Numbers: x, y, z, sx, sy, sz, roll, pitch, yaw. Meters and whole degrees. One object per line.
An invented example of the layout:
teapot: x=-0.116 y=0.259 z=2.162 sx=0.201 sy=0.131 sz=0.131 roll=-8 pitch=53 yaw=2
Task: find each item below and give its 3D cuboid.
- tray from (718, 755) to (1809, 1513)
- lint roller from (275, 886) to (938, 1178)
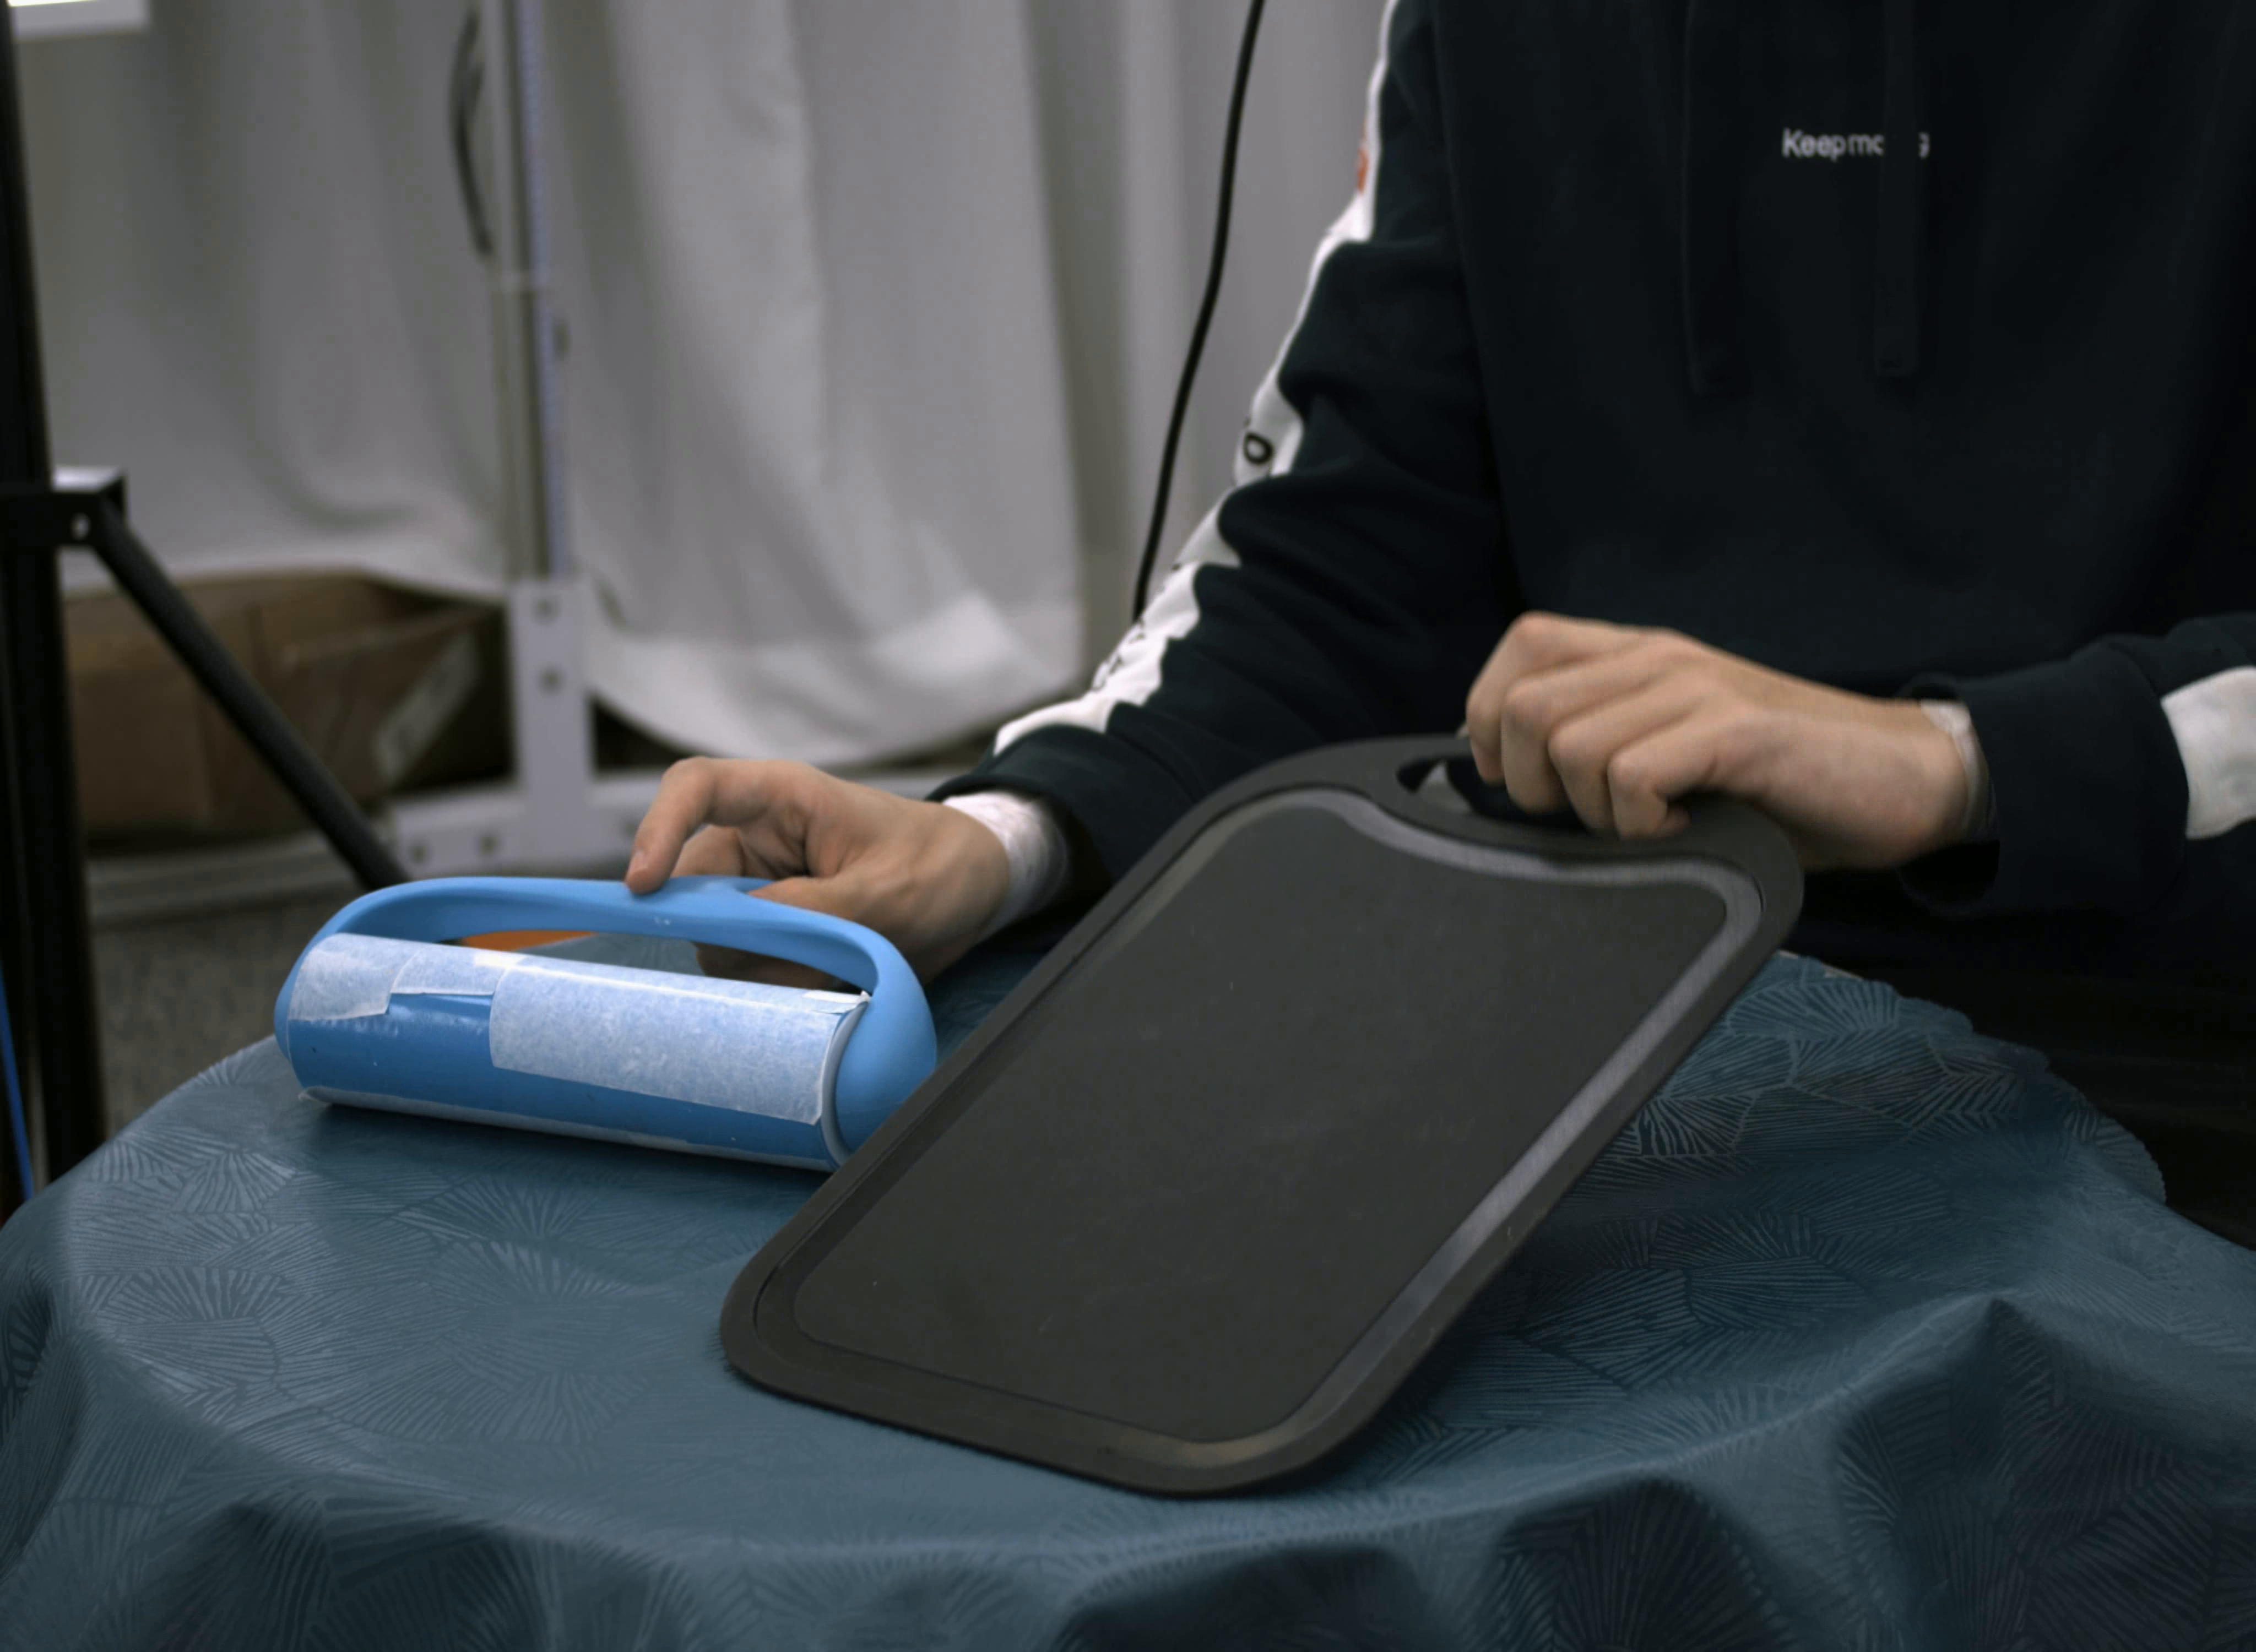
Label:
tray: x=0.044 y=0.071 z=1.471 sx=0.215 sy=0.010 sz=0.321 roll=11 pitch=41 yaw=38
lint roller: x=-0.138 y=0.050 z=1.674 sx=0.232 sy=0.068 sz=0.178 roll=3 pitch=20 yaw=27
